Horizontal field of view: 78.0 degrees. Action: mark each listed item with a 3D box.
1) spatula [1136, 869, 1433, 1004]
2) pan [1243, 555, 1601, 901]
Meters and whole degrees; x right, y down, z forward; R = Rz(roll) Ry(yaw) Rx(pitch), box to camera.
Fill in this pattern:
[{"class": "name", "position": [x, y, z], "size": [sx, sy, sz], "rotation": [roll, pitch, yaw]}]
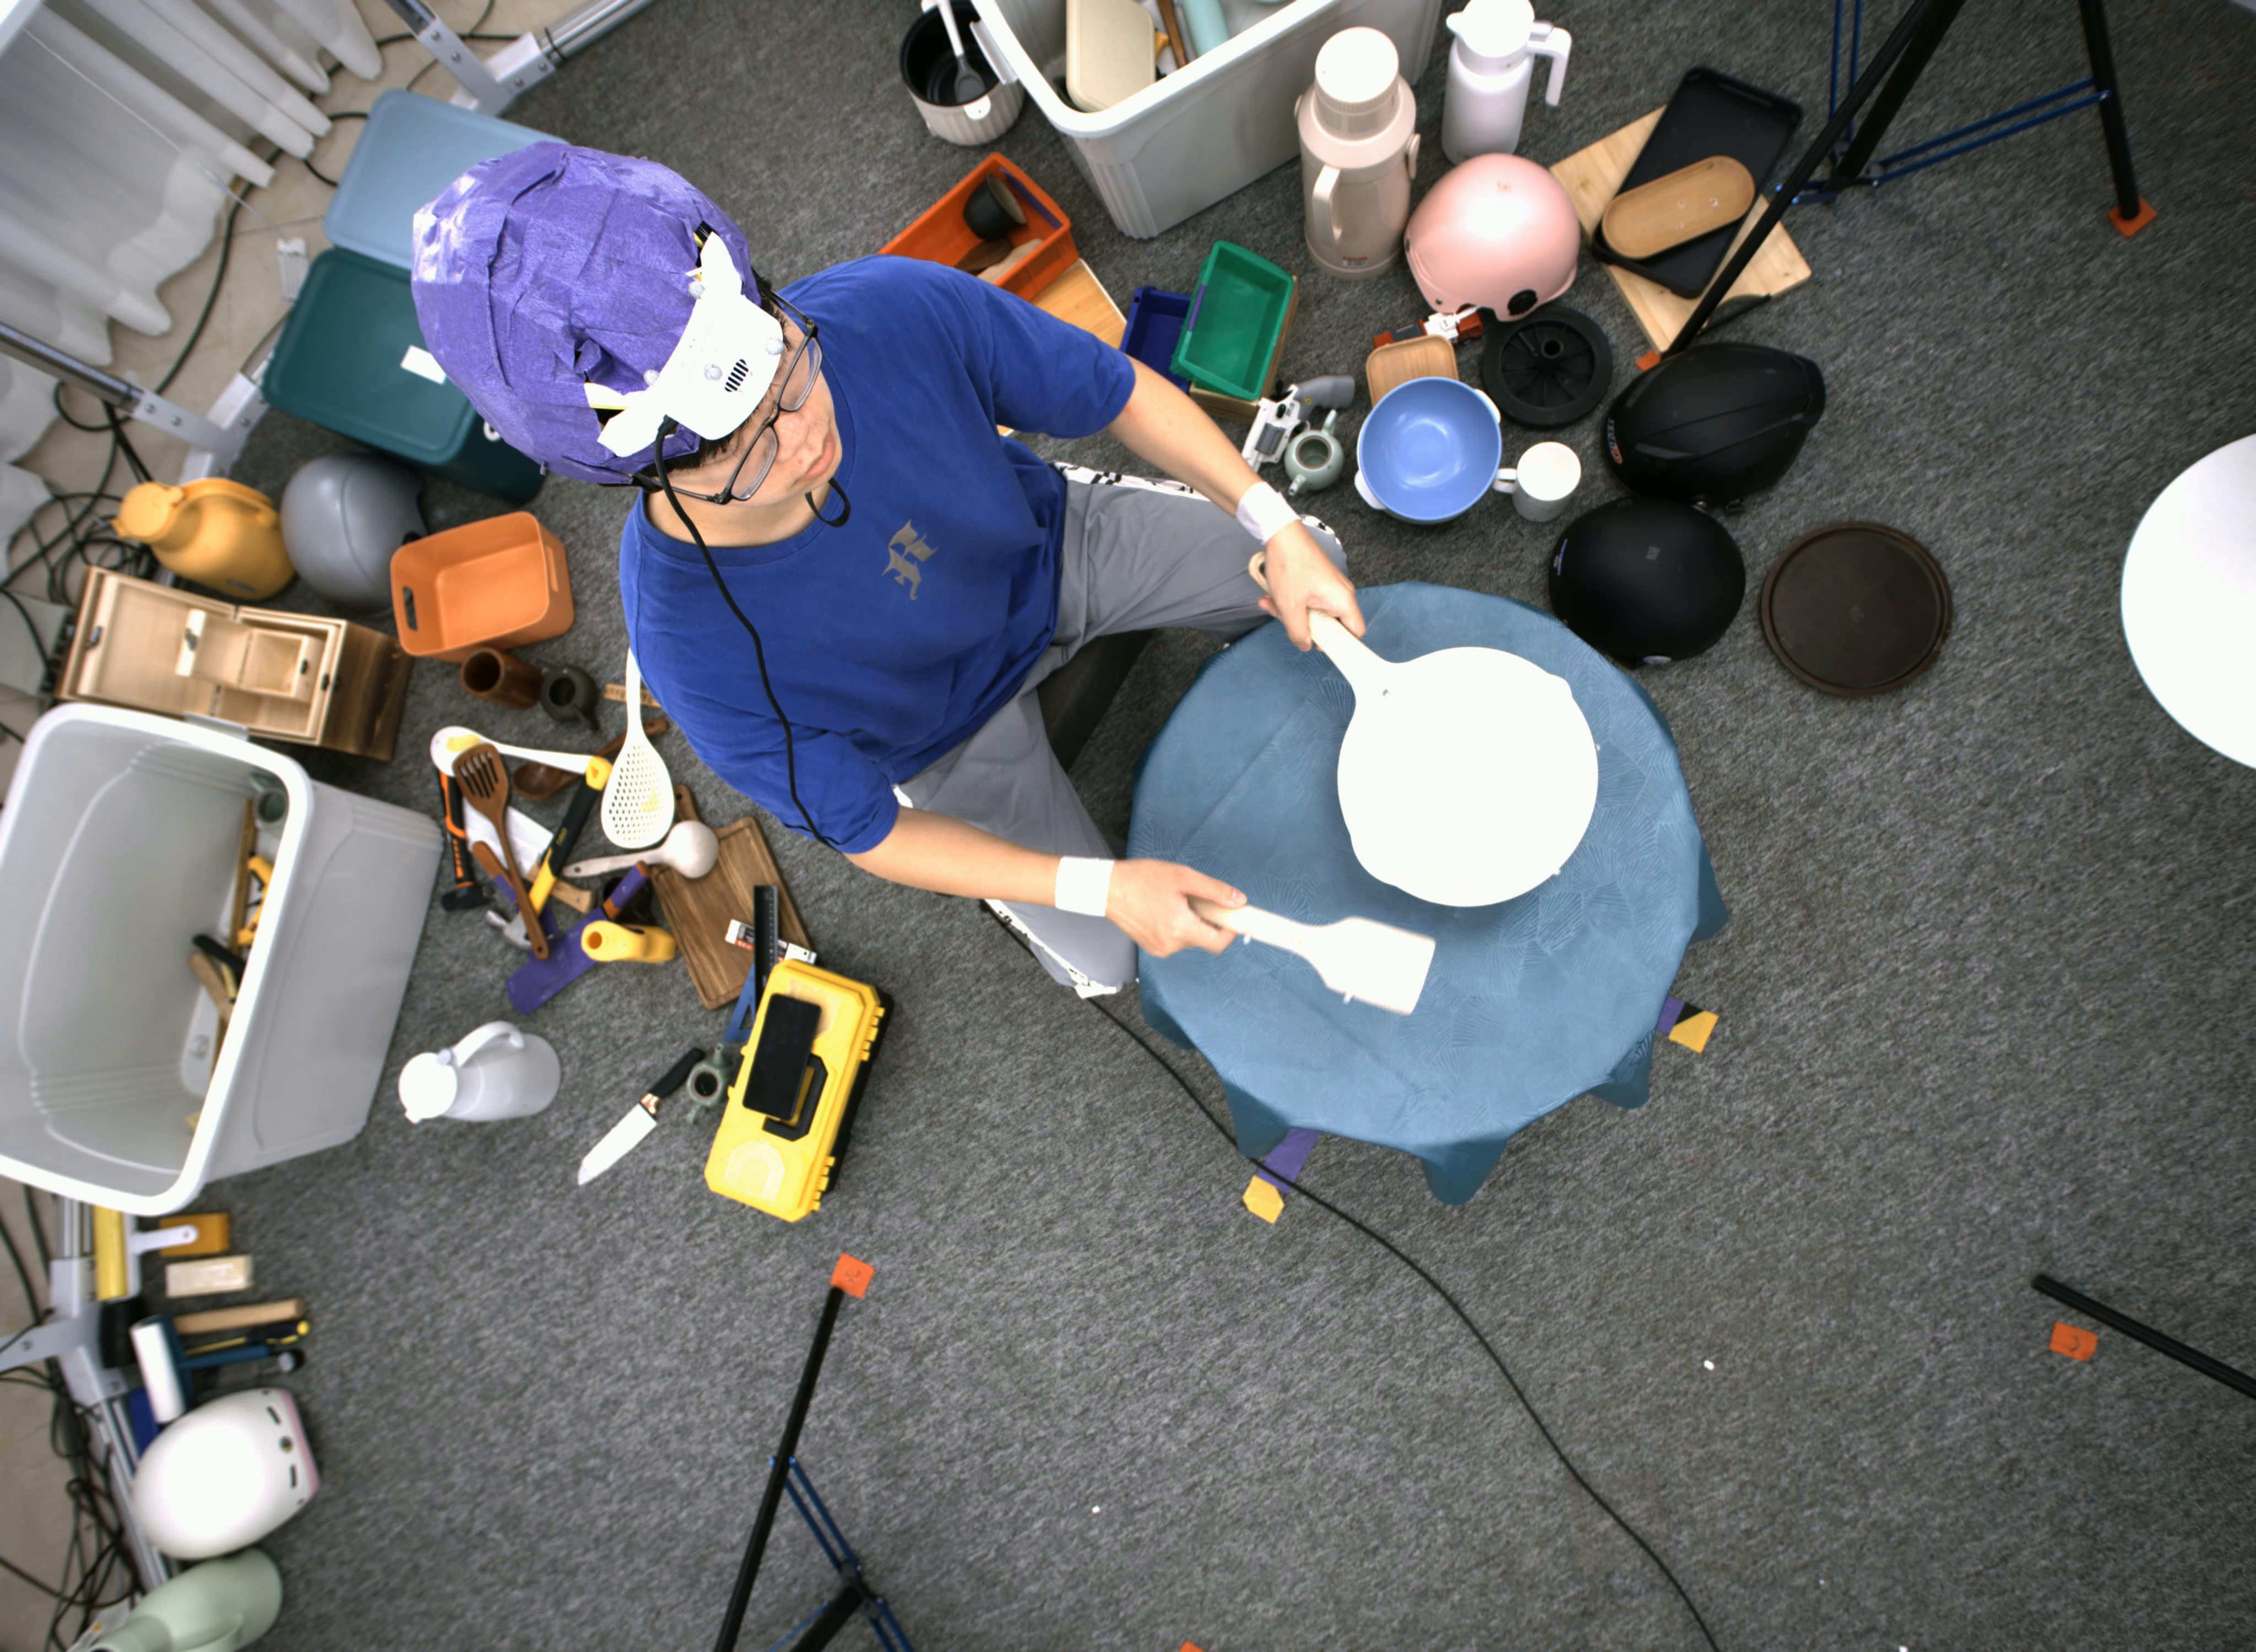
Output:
[{"class": "spatula", "position": [0.141, 0.094, 1.322], "size": [0.293, 0.011, 0.072], "rotation": [17, 84, 20]}, {"class": "pan", "position": [0.283, -0.120, 1.380], "size": [0.431, 0.101, 0.267], "rotation": [49, 112, 16]}]
